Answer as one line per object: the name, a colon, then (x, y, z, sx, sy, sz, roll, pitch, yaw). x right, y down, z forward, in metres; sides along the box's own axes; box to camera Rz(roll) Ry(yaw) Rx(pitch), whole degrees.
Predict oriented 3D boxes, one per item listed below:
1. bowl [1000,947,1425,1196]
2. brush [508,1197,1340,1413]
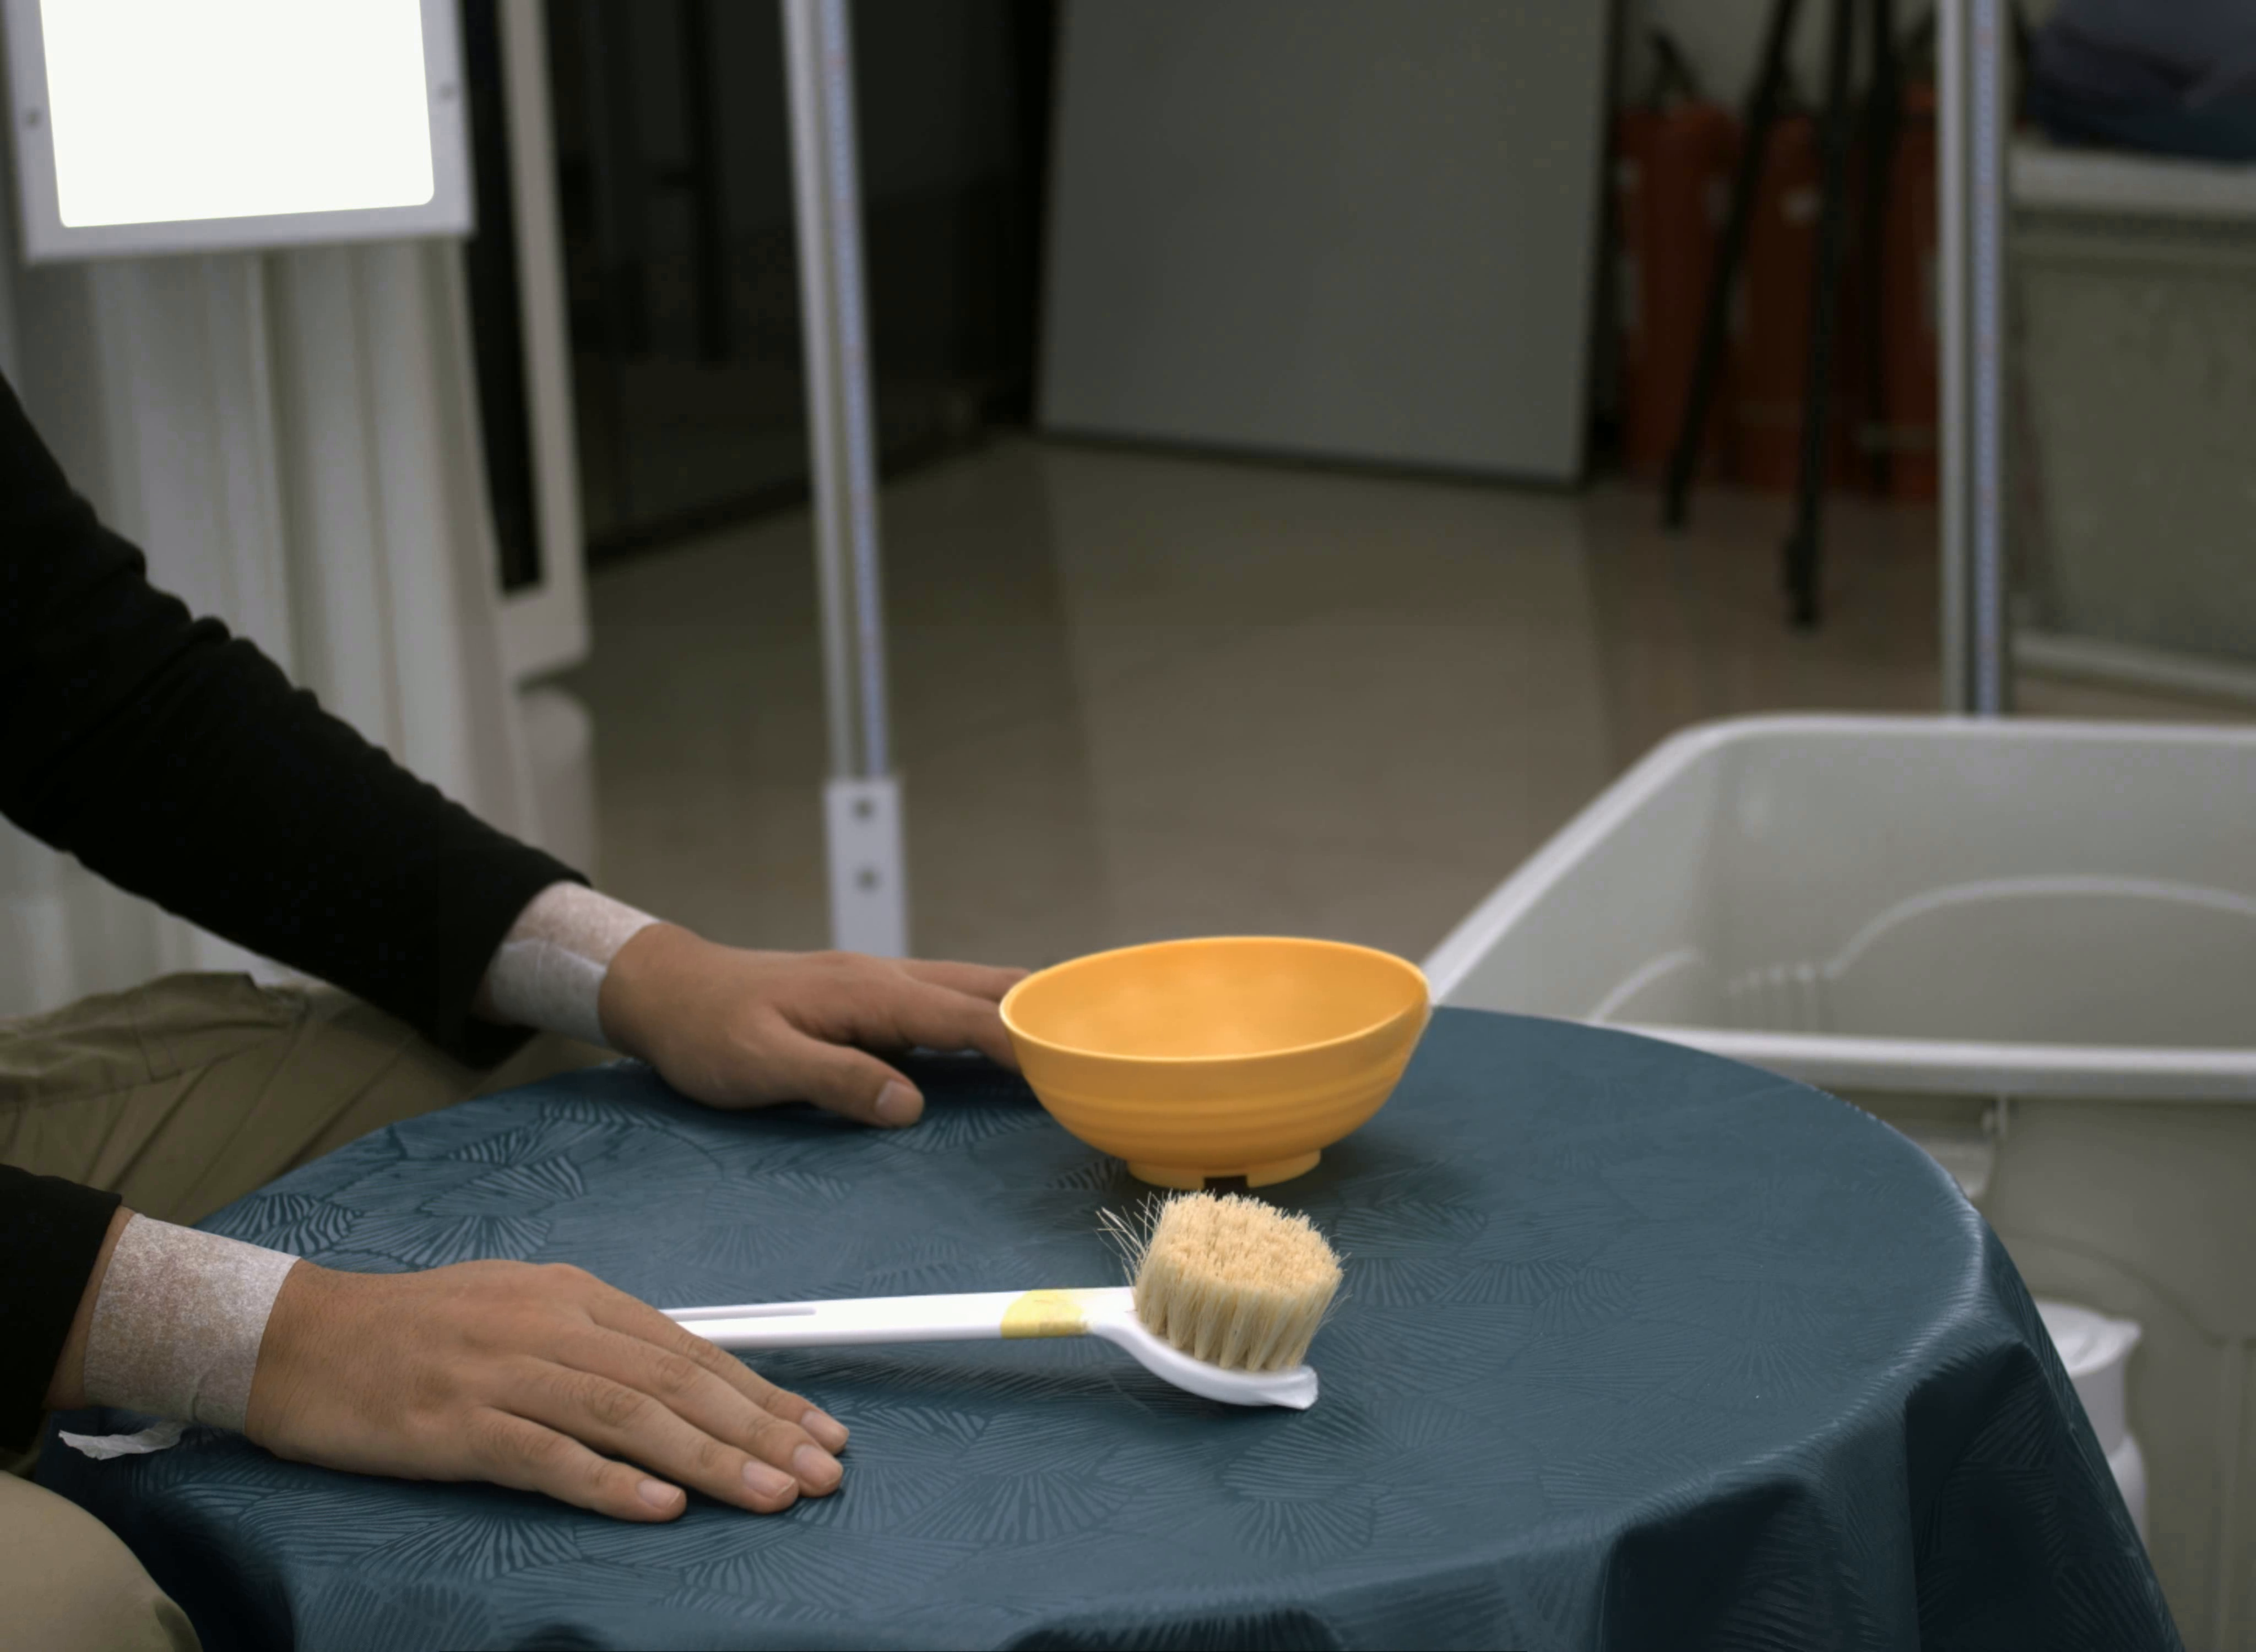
bowl: (0.030, 0.085, 1.786, 0.143, 0.061, 0.145, -4, 12, 0)
brush: (-0.065, 0.139, 1.602, 0.266, 0.057, 0.068, 0, 9, 21)
